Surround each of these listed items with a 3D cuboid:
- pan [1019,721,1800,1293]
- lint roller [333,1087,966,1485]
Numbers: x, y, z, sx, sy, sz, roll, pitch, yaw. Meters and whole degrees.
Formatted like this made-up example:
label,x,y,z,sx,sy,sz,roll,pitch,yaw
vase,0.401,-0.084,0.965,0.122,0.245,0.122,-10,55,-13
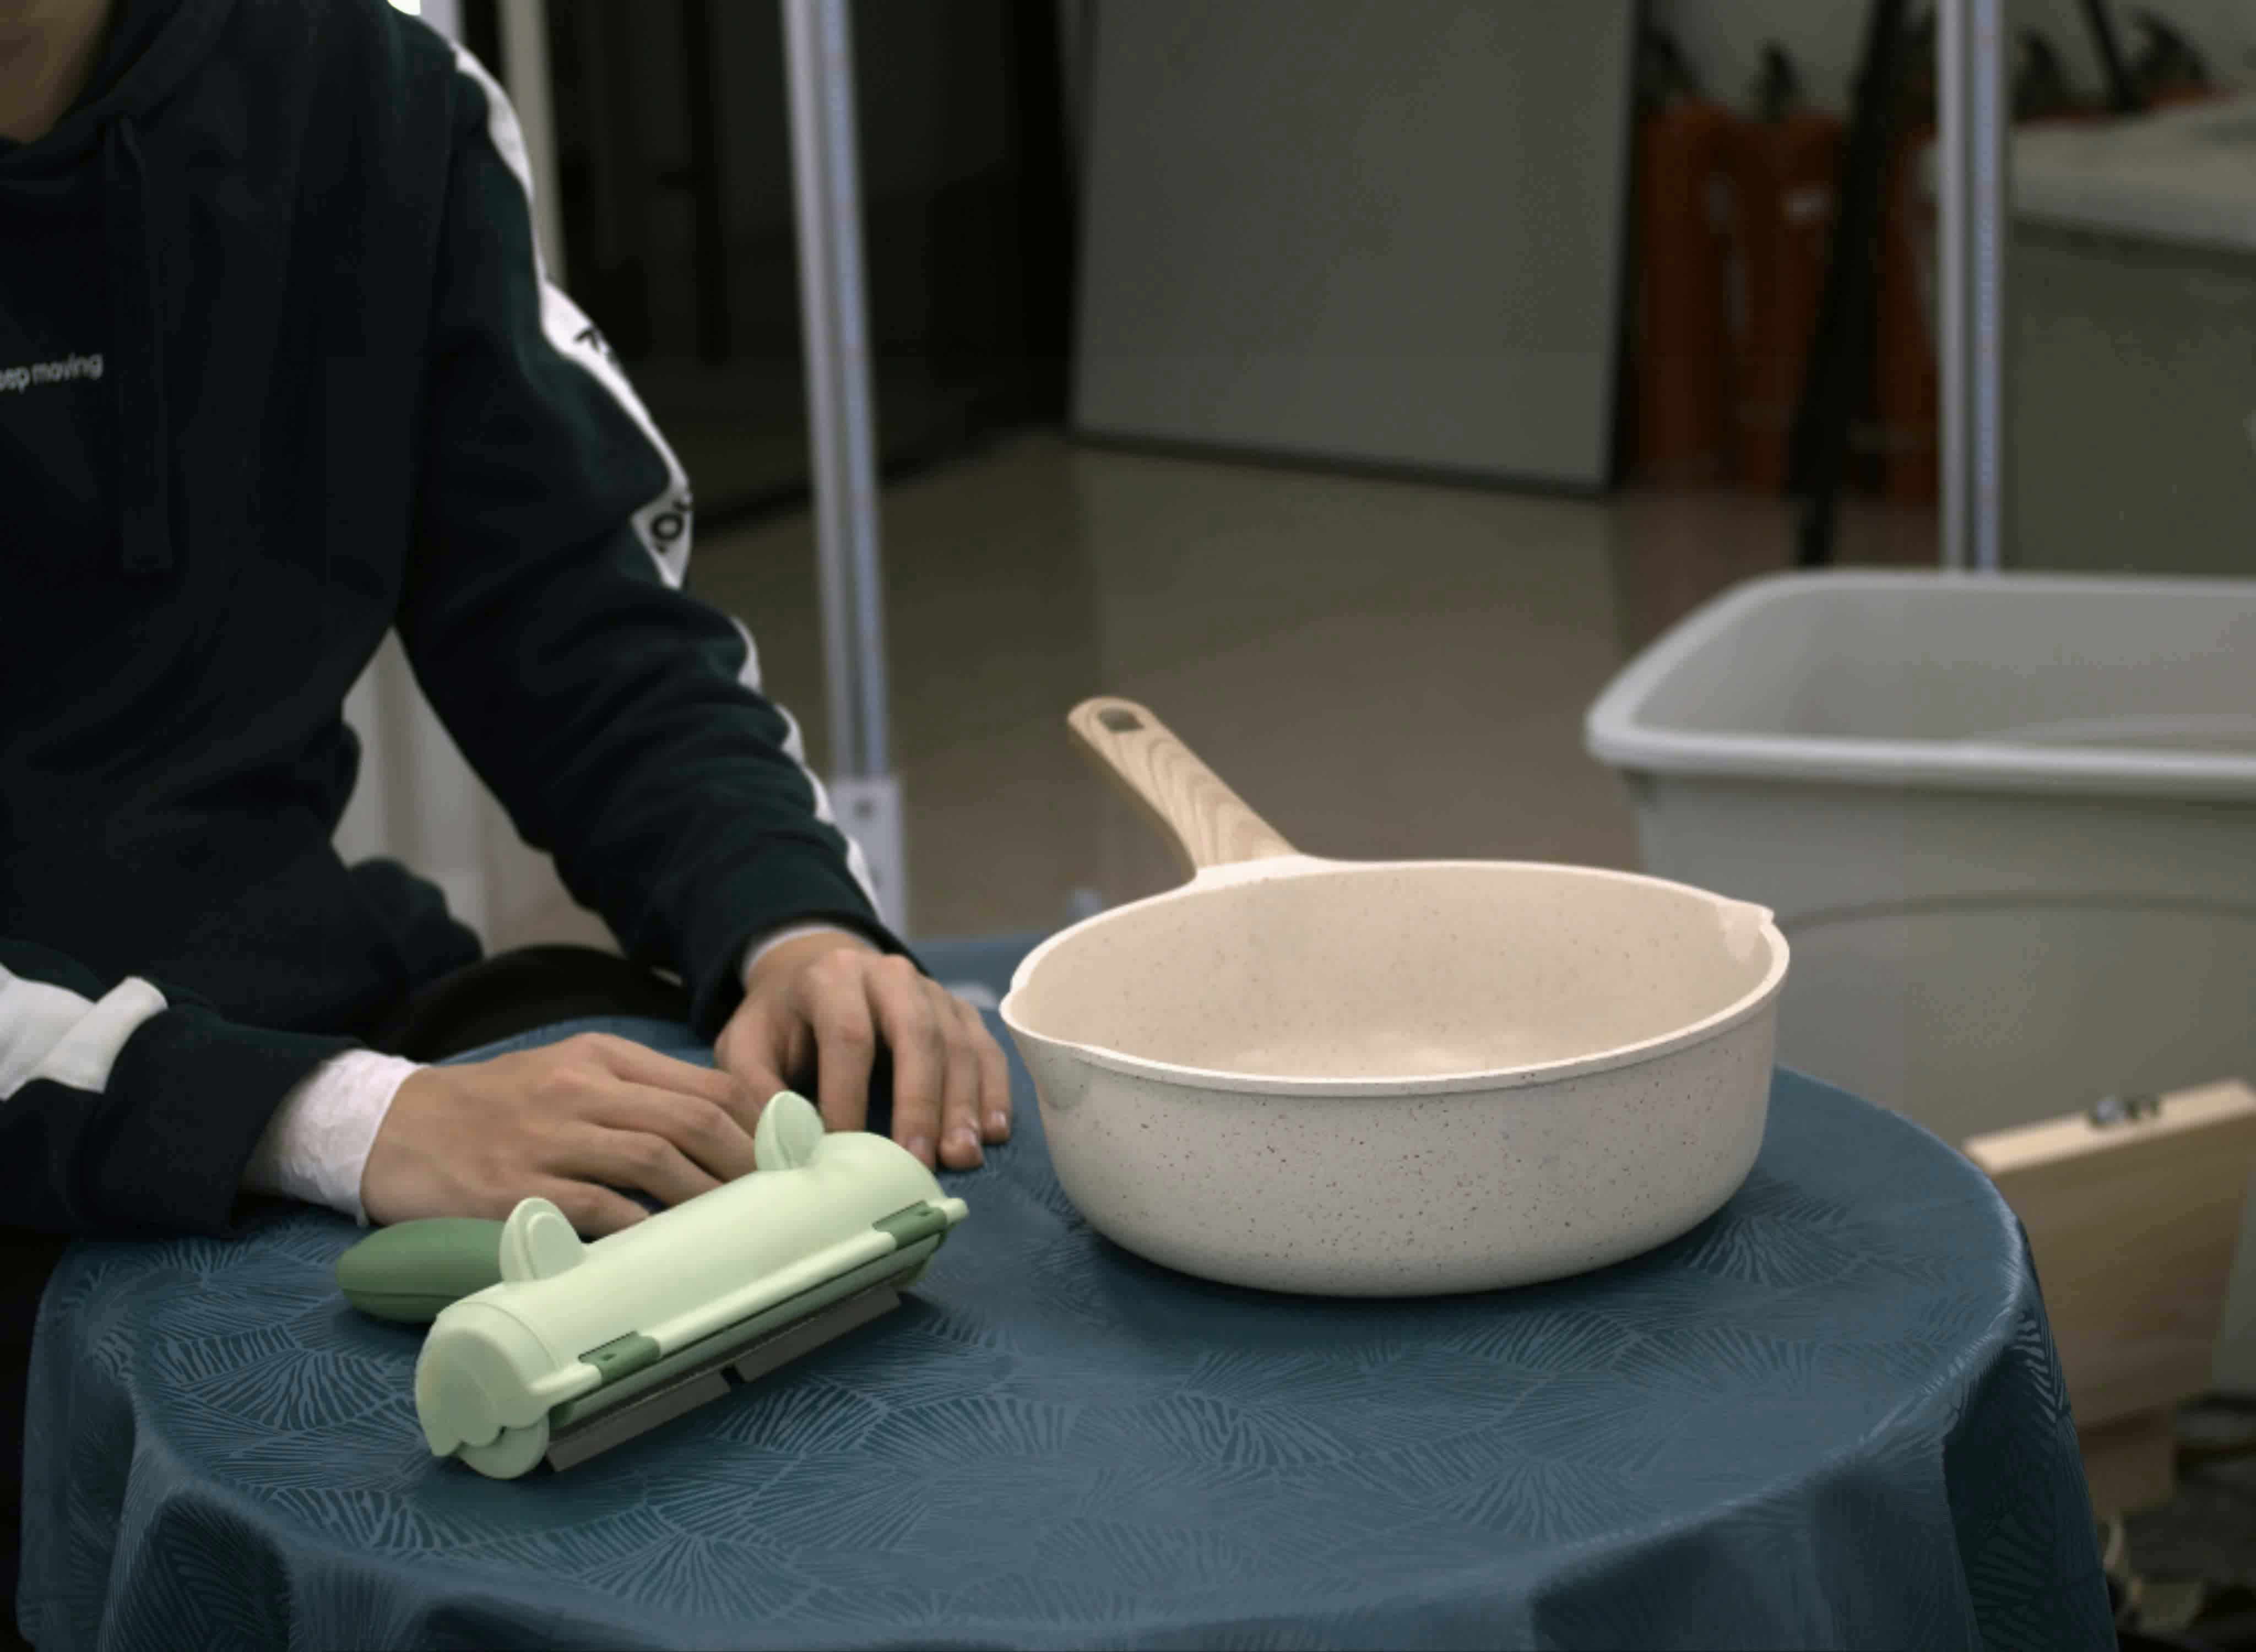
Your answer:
label,x,y,z,sx,sy,sz,roll,pitch,yaw
pan,0.063,0.055,1.815,0.258,0.103,0.438,-10,15,-17
lint roller,-0.175,0.125,1.648,0.184,0.083,0.195,13,22,35
